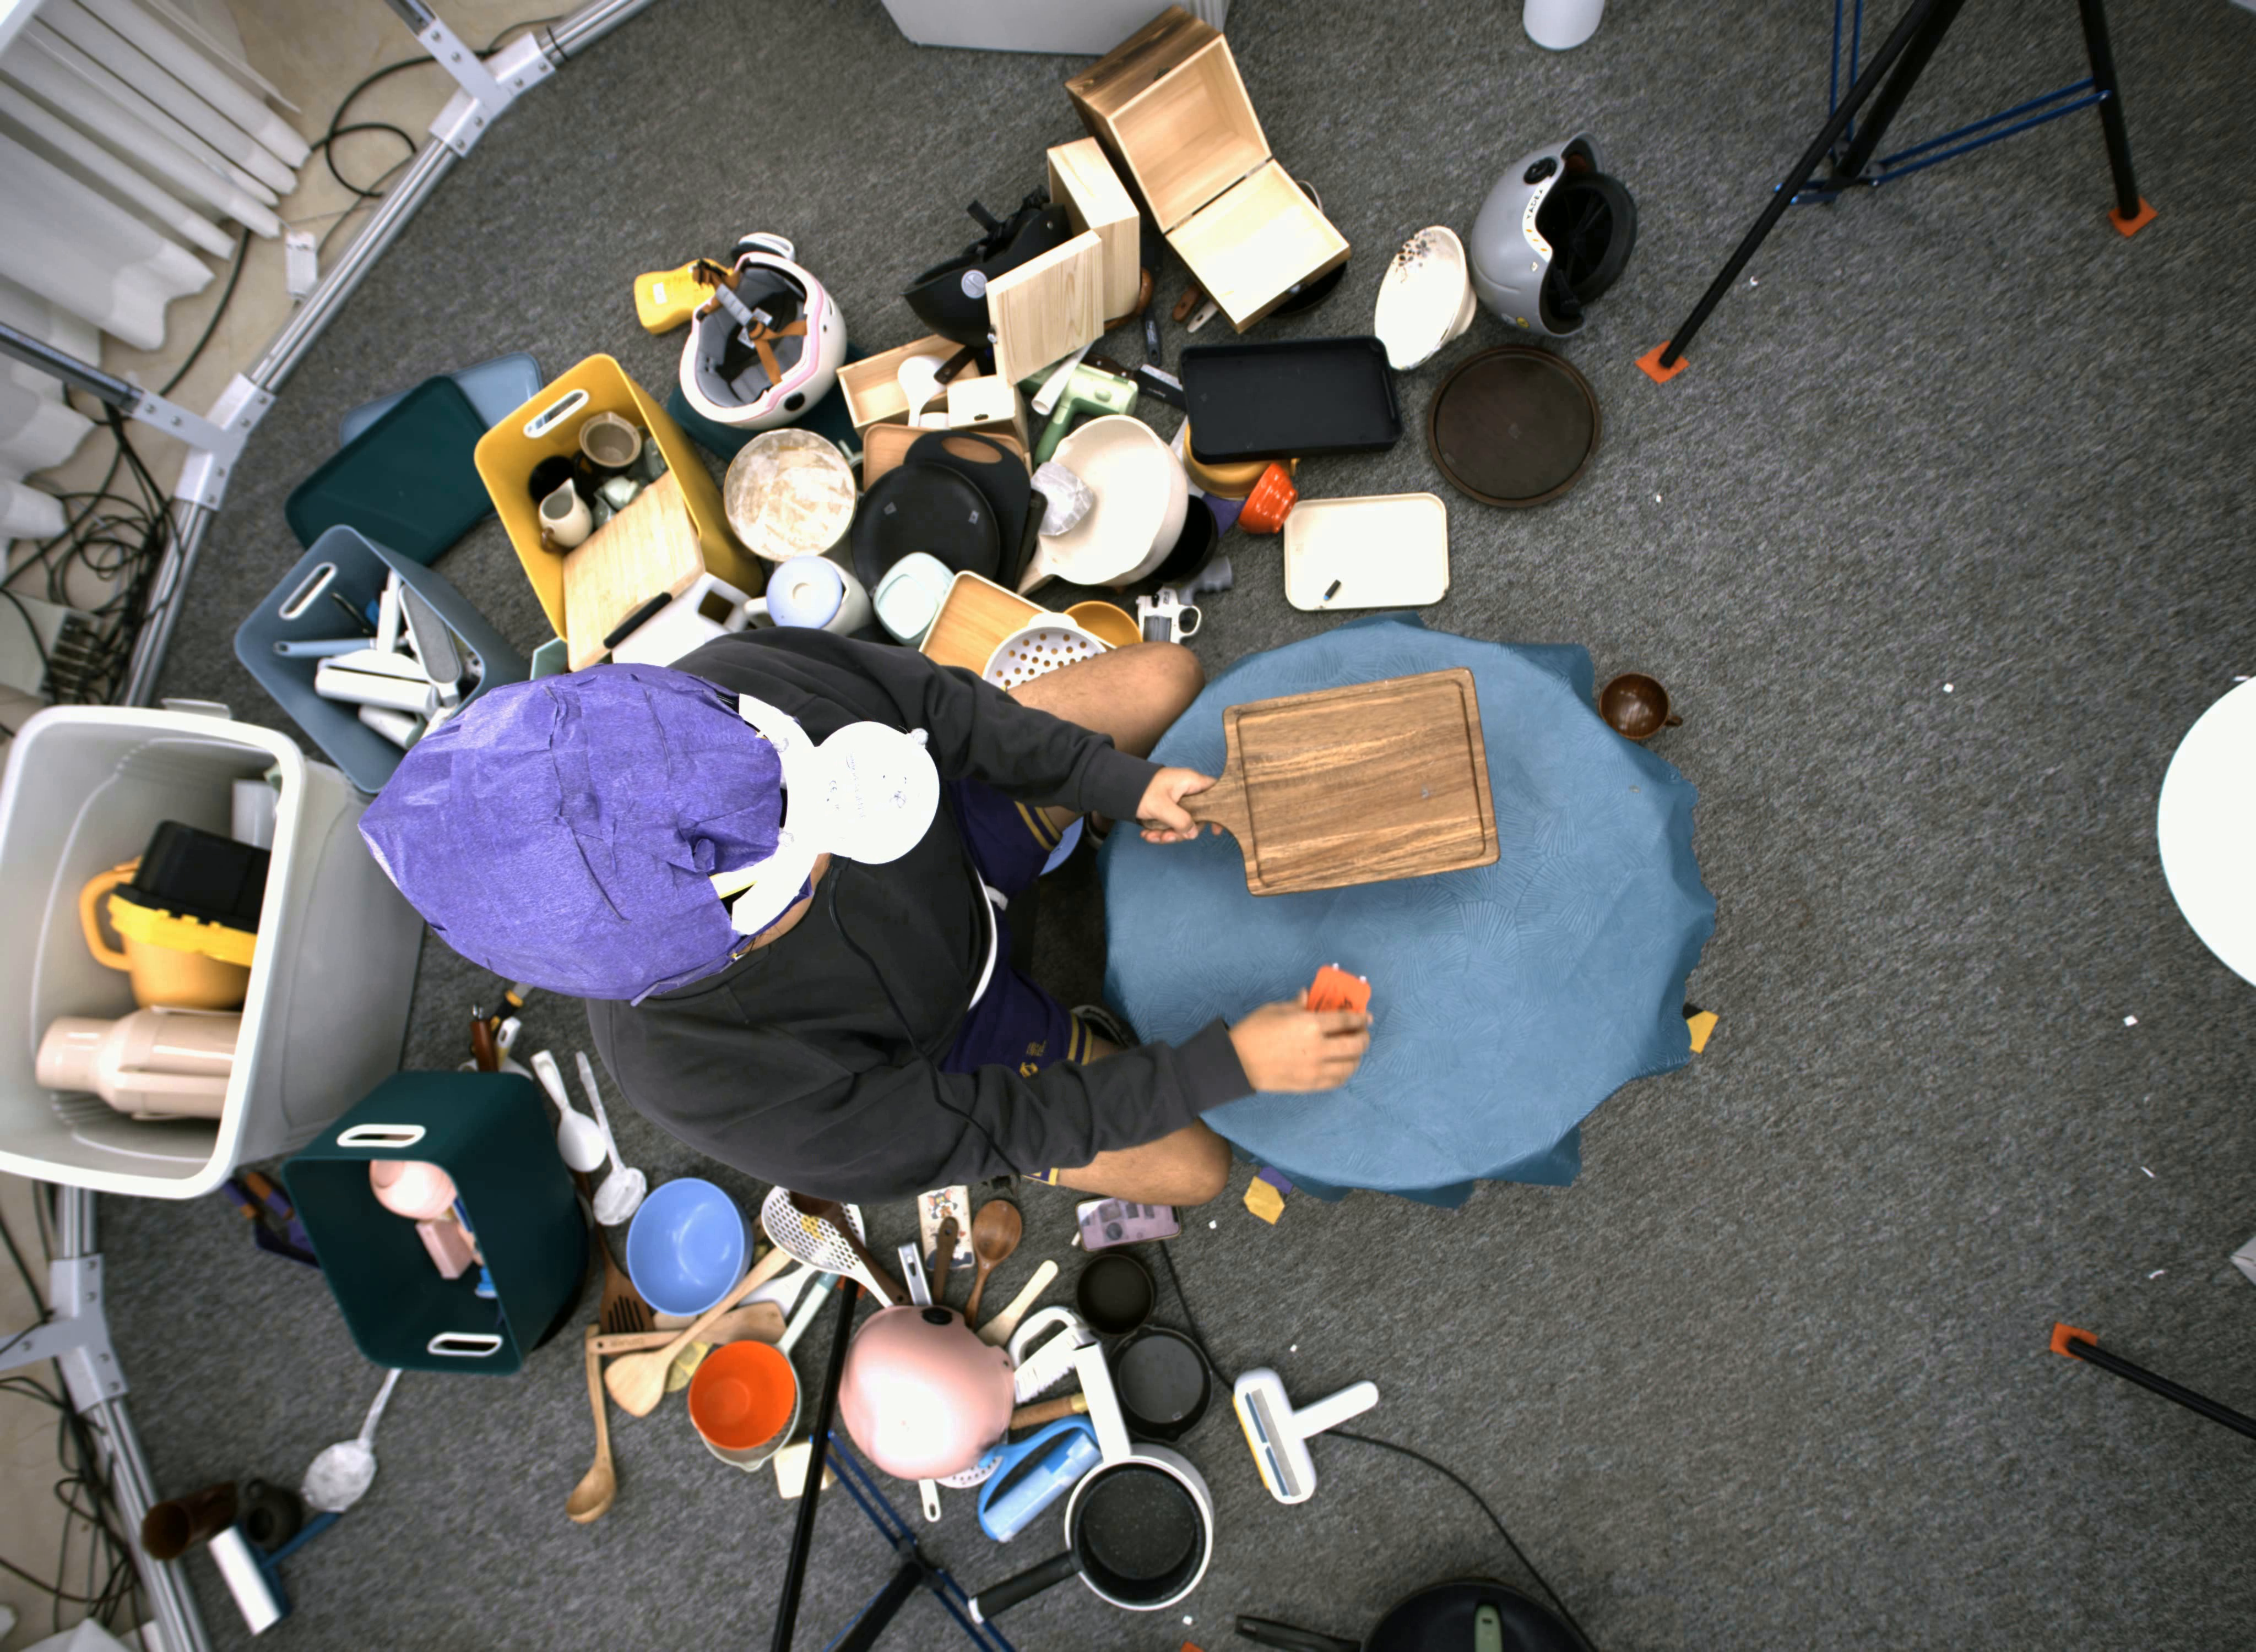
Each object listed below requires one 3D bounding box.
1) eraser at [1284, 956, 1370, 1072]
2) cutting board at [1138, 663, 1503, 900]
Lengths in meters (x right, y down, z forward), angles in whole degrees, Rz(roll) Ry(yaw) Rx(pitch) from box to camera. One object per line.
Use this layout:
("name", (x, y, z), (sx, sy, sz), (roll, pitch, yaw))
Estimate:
("eraser", (0.200, 0.188, 1.393), (0.059, 0.022, 0.109), (21, 100, 6))
("cutting board", (0.181, -0.035, 1.374), (0.354, 0.023, 0.201), (-9, 92, 14))
